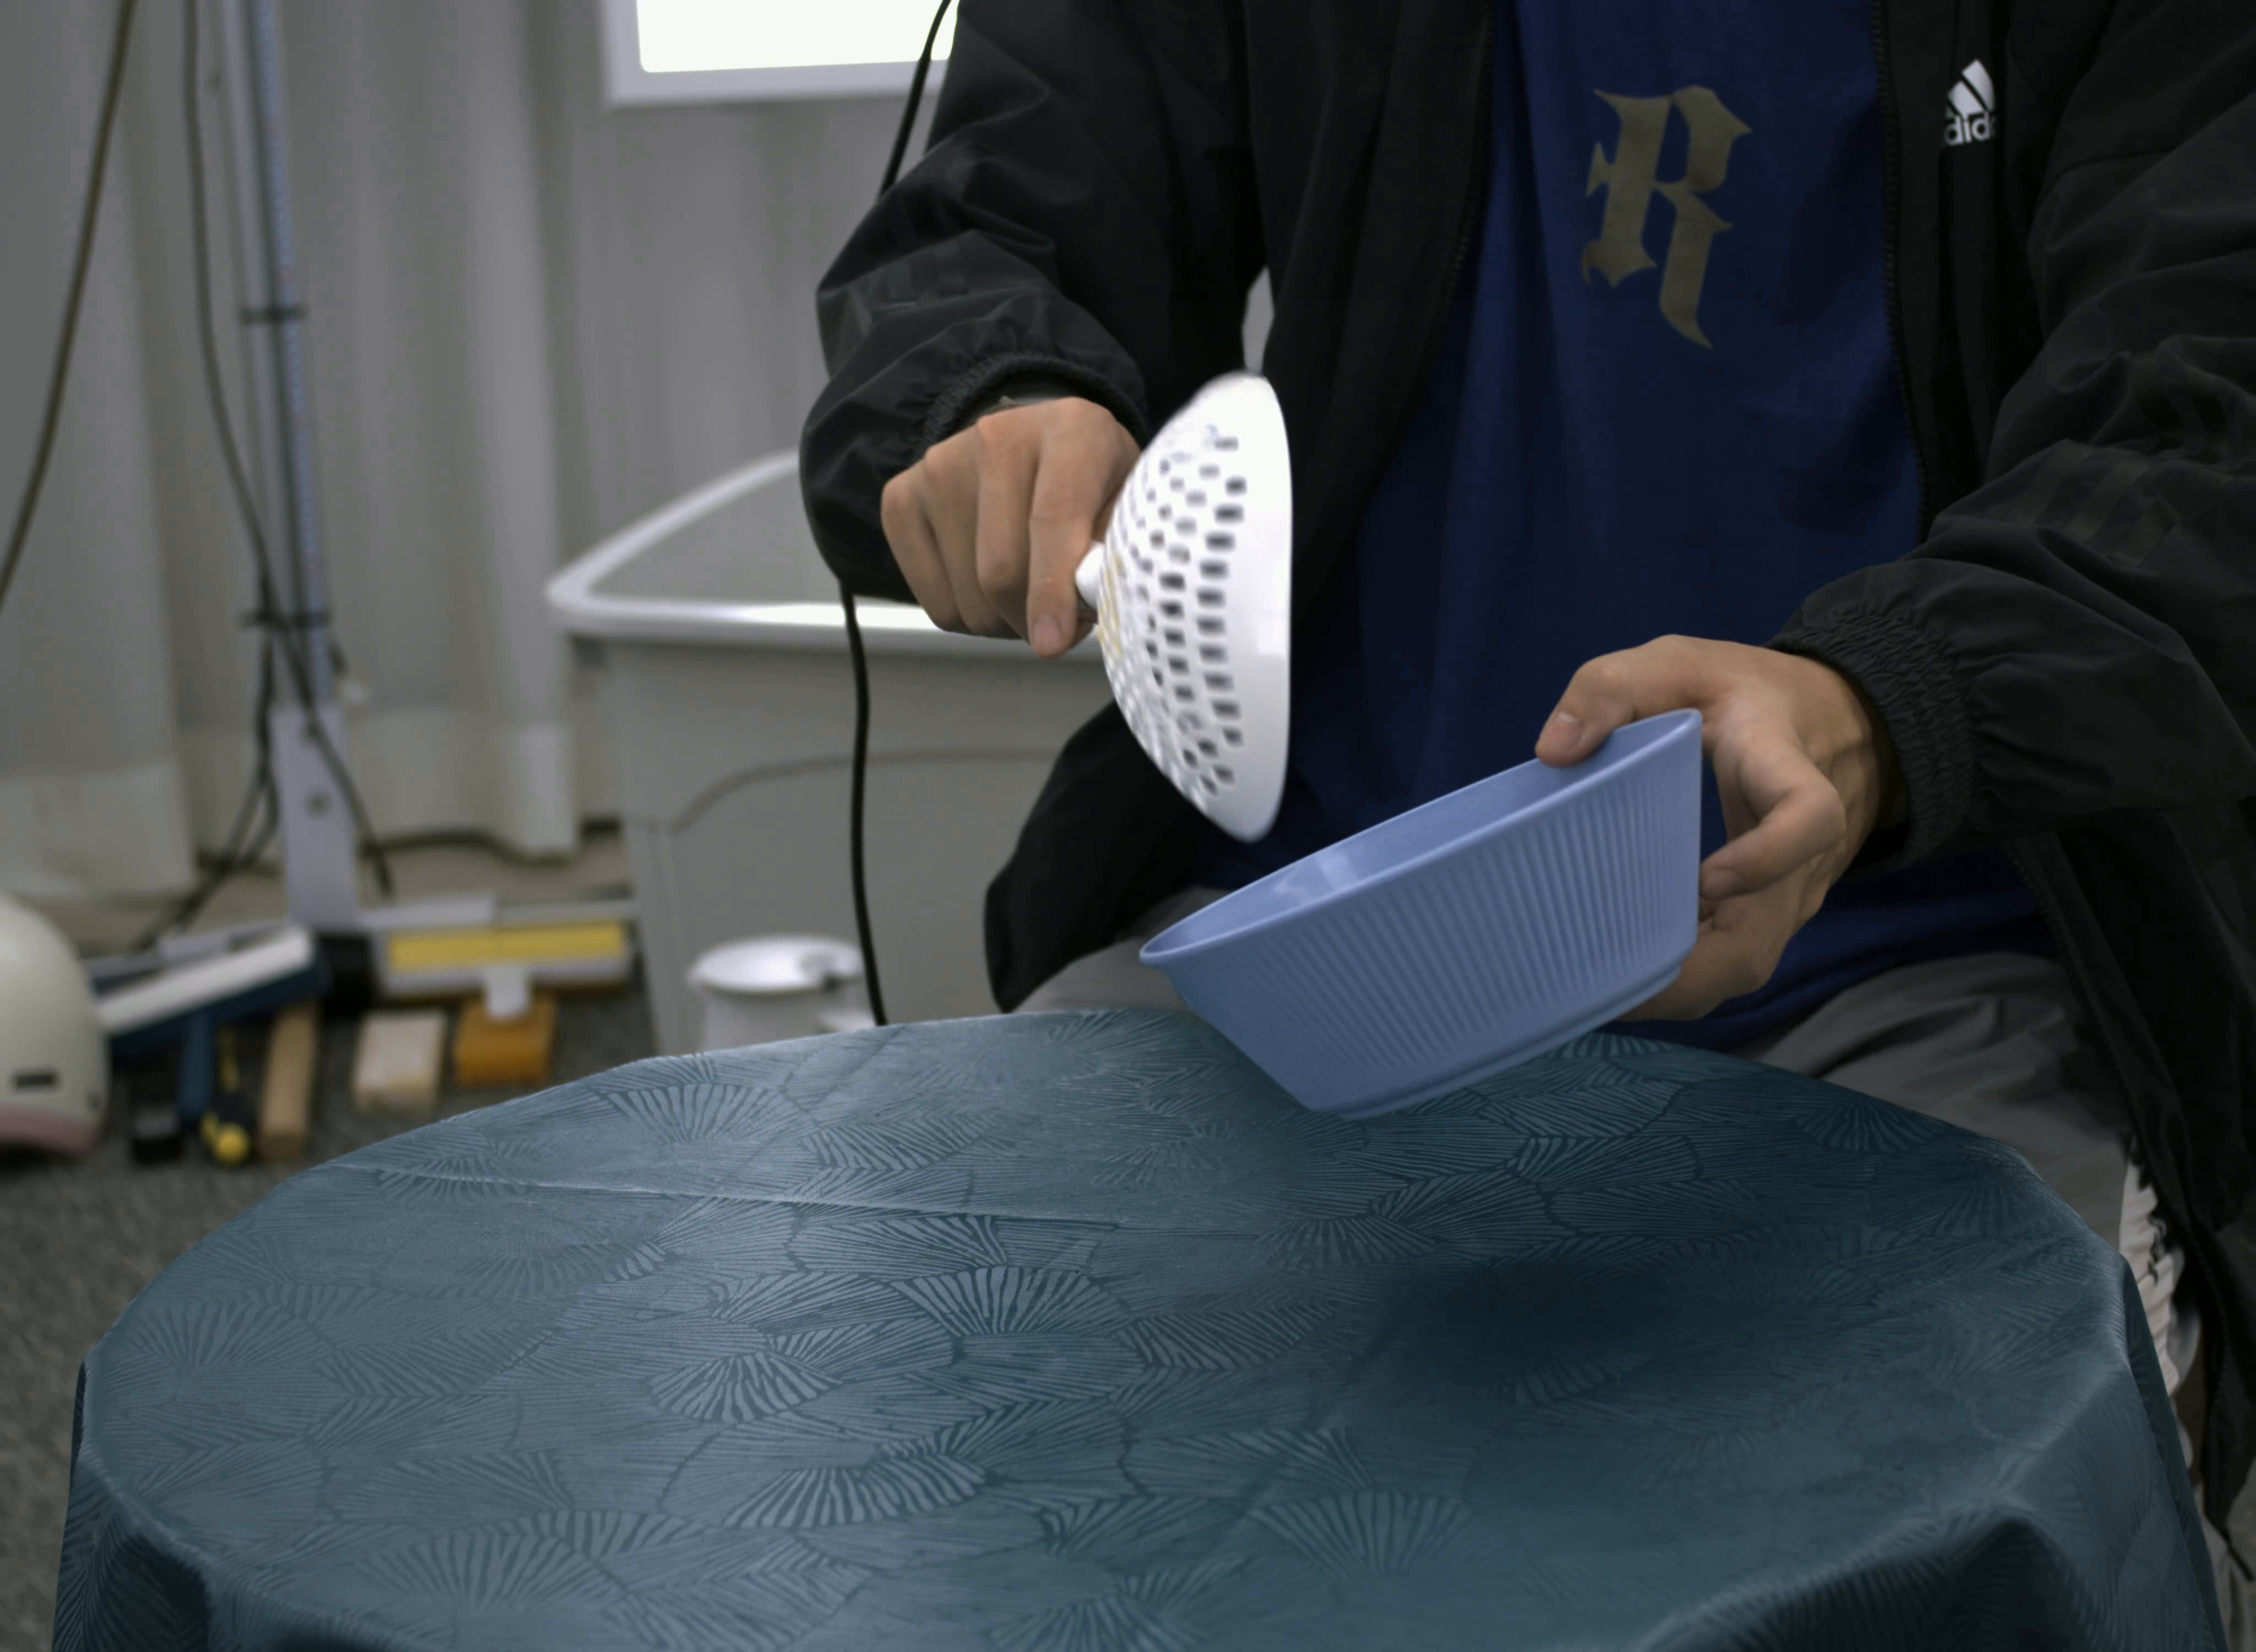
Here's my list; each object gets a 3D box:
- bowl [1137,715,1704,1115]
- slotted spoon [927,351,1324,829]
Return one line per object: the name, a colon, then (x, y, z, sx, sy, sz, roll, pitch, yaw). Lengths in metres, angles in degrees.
bowl: (0.095, 0.031, 1.570, 0.175, 0.070, 0.176, -23, 2, 0)
slotted spoon: (-0.006, -0.077, 1.671, 0.050, 0.137, 0.349, -3, 6, -12)
